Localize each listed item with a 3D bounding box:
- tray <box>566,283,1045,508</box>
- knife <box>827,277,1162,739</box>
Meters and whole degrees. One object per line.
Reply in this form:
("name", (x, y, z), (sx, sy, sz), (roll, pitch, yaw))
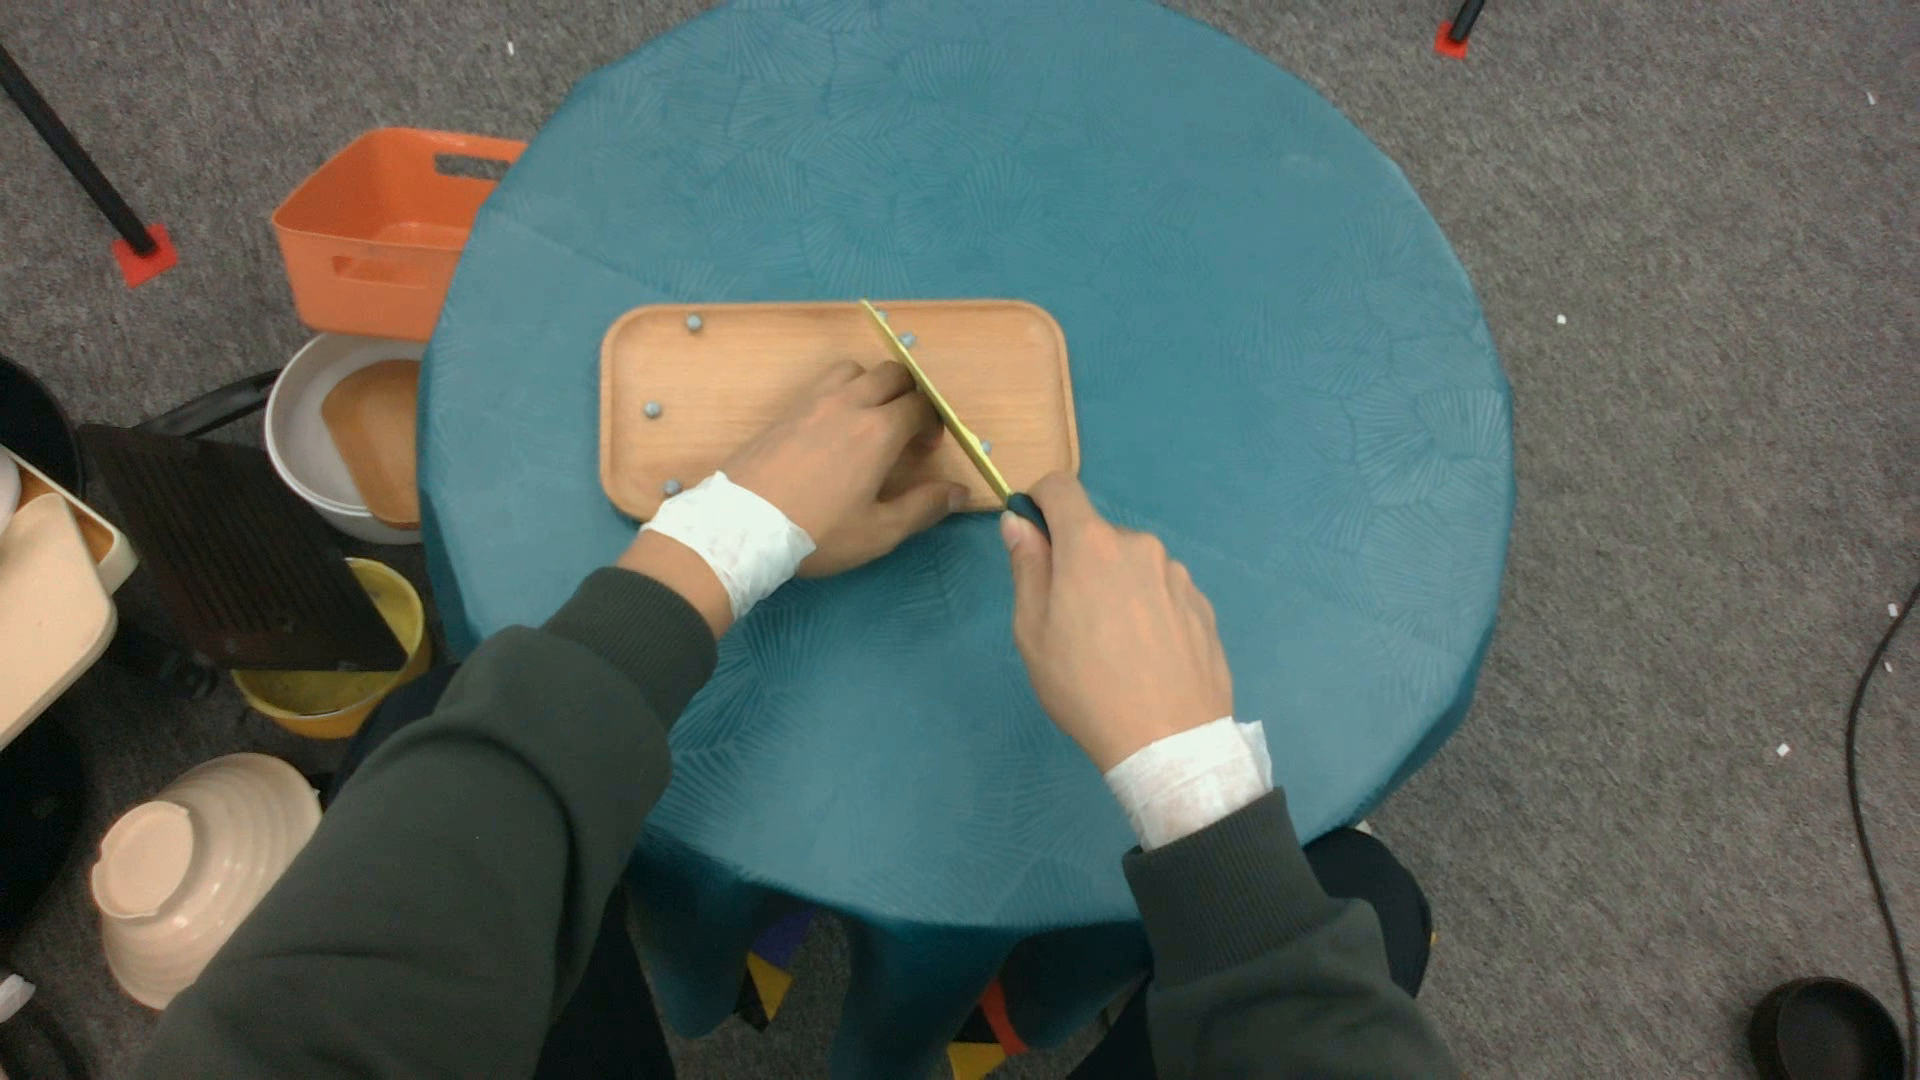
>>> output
("tray", (-0.081, -0.079, 0.740), (0.251, 0.023, 0.131), (-2, 70, -12))
("knife", (0.008, -0.024, 0.656), (0.027, 0.081, 0.290), (-35, 67, 1))
